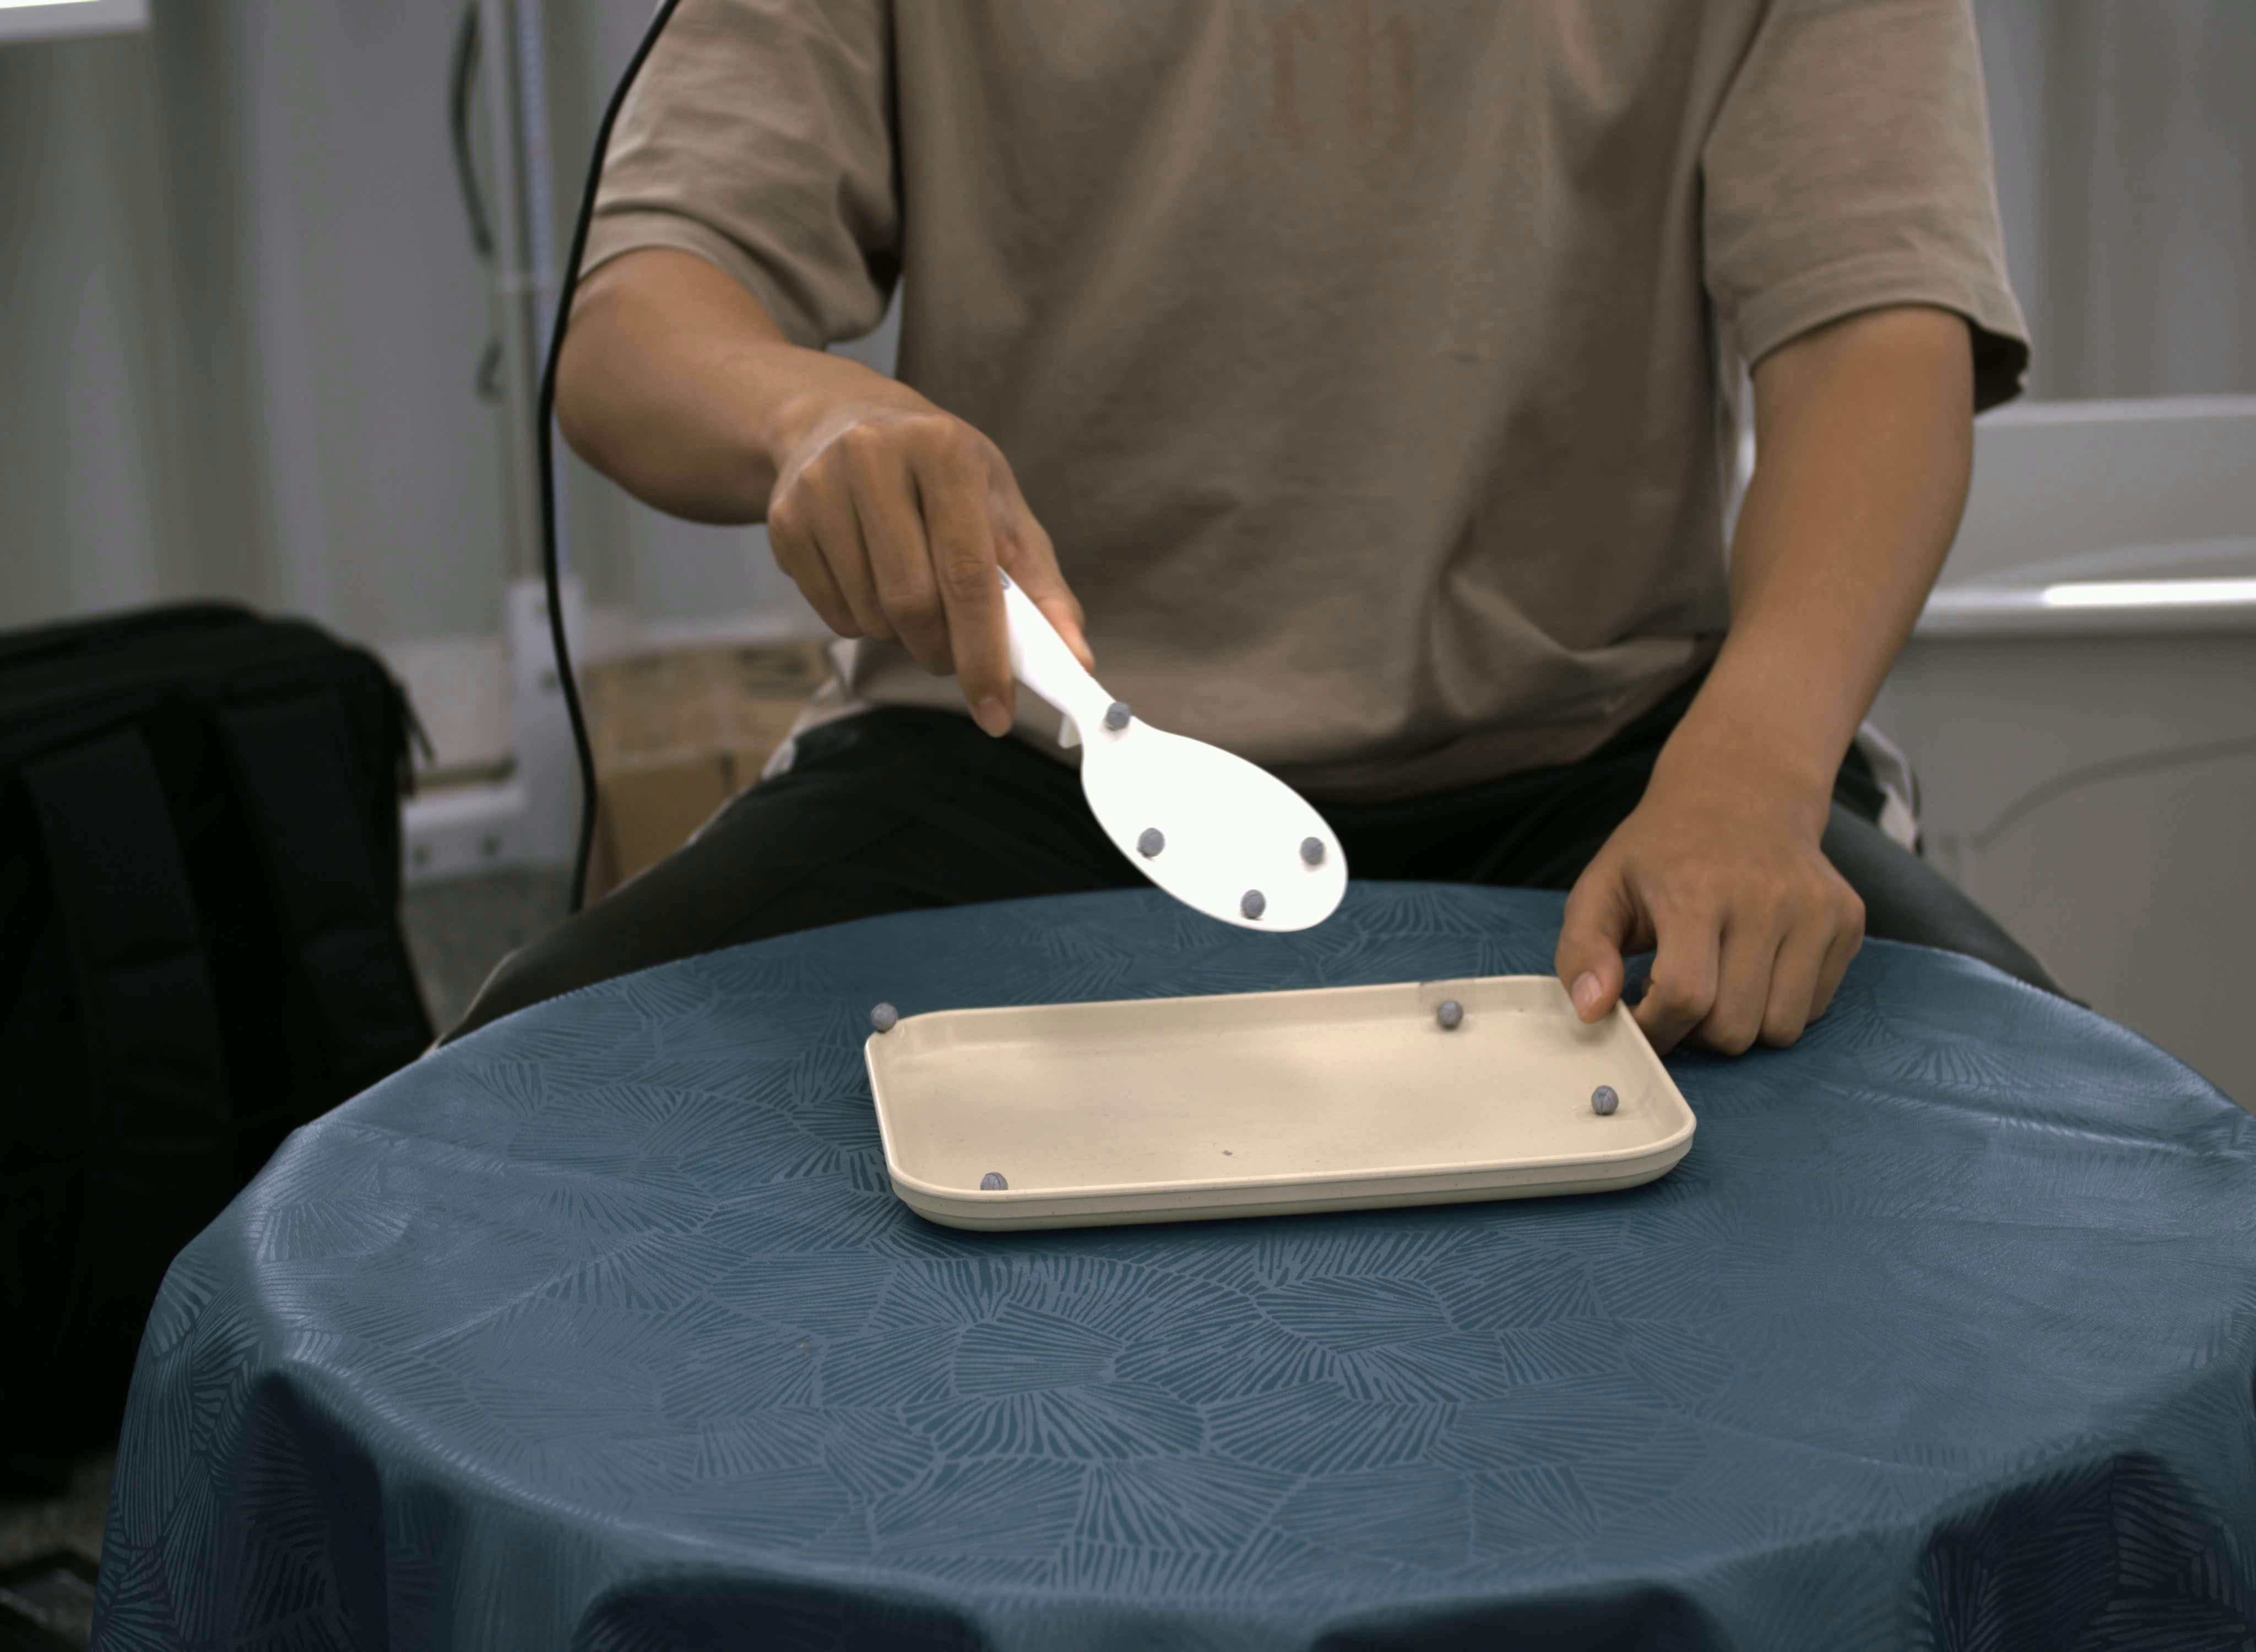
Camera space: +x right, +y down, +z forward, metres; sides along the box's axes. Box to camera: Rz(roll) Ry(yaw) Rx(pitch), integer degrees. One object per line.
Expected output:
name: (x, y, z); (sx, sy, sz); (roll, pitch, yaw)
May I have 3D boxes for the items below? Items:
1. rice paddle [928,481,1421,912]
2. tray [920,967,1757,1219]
rice paddle: (0.013, -0.037, 1.612); (0.067, 0.029, 0.209); (-19, 47, -35)
tray: (0.060, 0.081, 1.598); (0.238, 0.017, 0.172); (-3, 17, -4)
